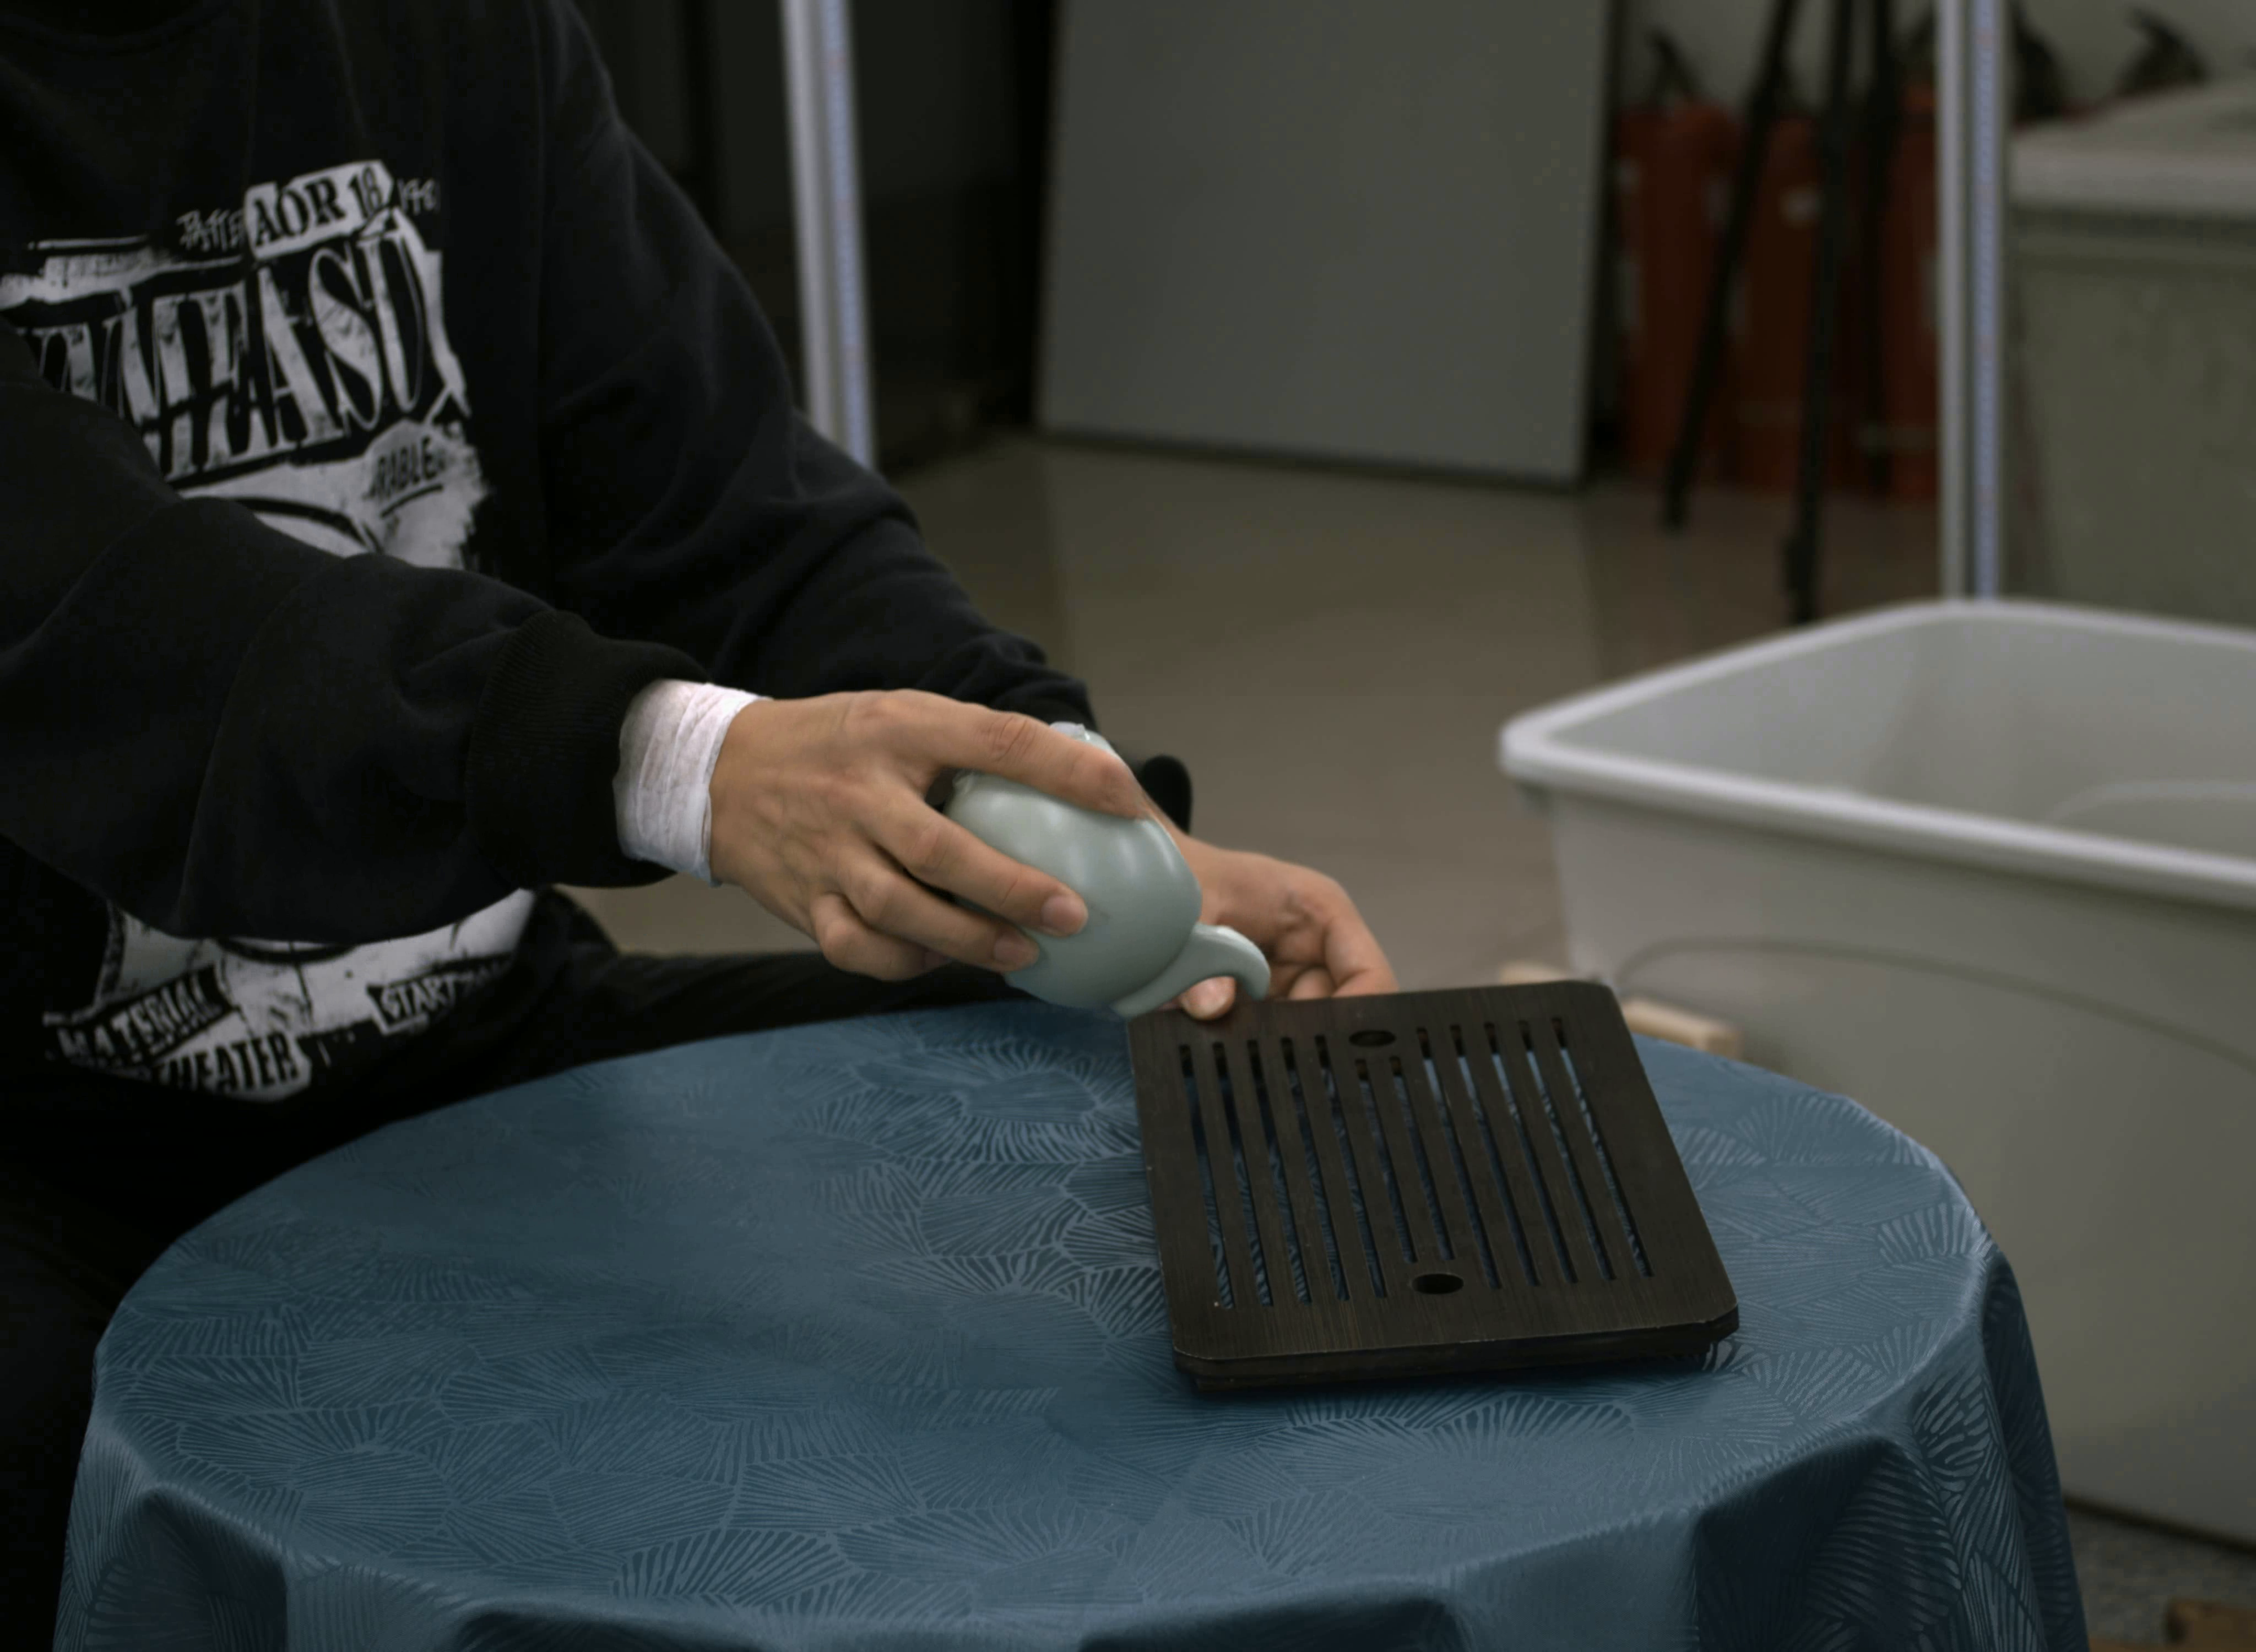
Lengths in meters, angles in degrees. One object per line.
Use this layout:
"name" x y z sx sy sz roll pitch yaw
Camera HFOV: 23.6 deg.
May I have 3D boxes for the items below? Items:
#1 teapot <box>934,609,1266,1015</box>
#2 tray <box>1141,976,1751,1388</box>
"teapot" -0.018 0.009 1.648 0.074 0.144 0.089 -30 17 -2
"tray" 0.094 0.110 1.714 0.168 0.019 0.307 -5 17 -1
